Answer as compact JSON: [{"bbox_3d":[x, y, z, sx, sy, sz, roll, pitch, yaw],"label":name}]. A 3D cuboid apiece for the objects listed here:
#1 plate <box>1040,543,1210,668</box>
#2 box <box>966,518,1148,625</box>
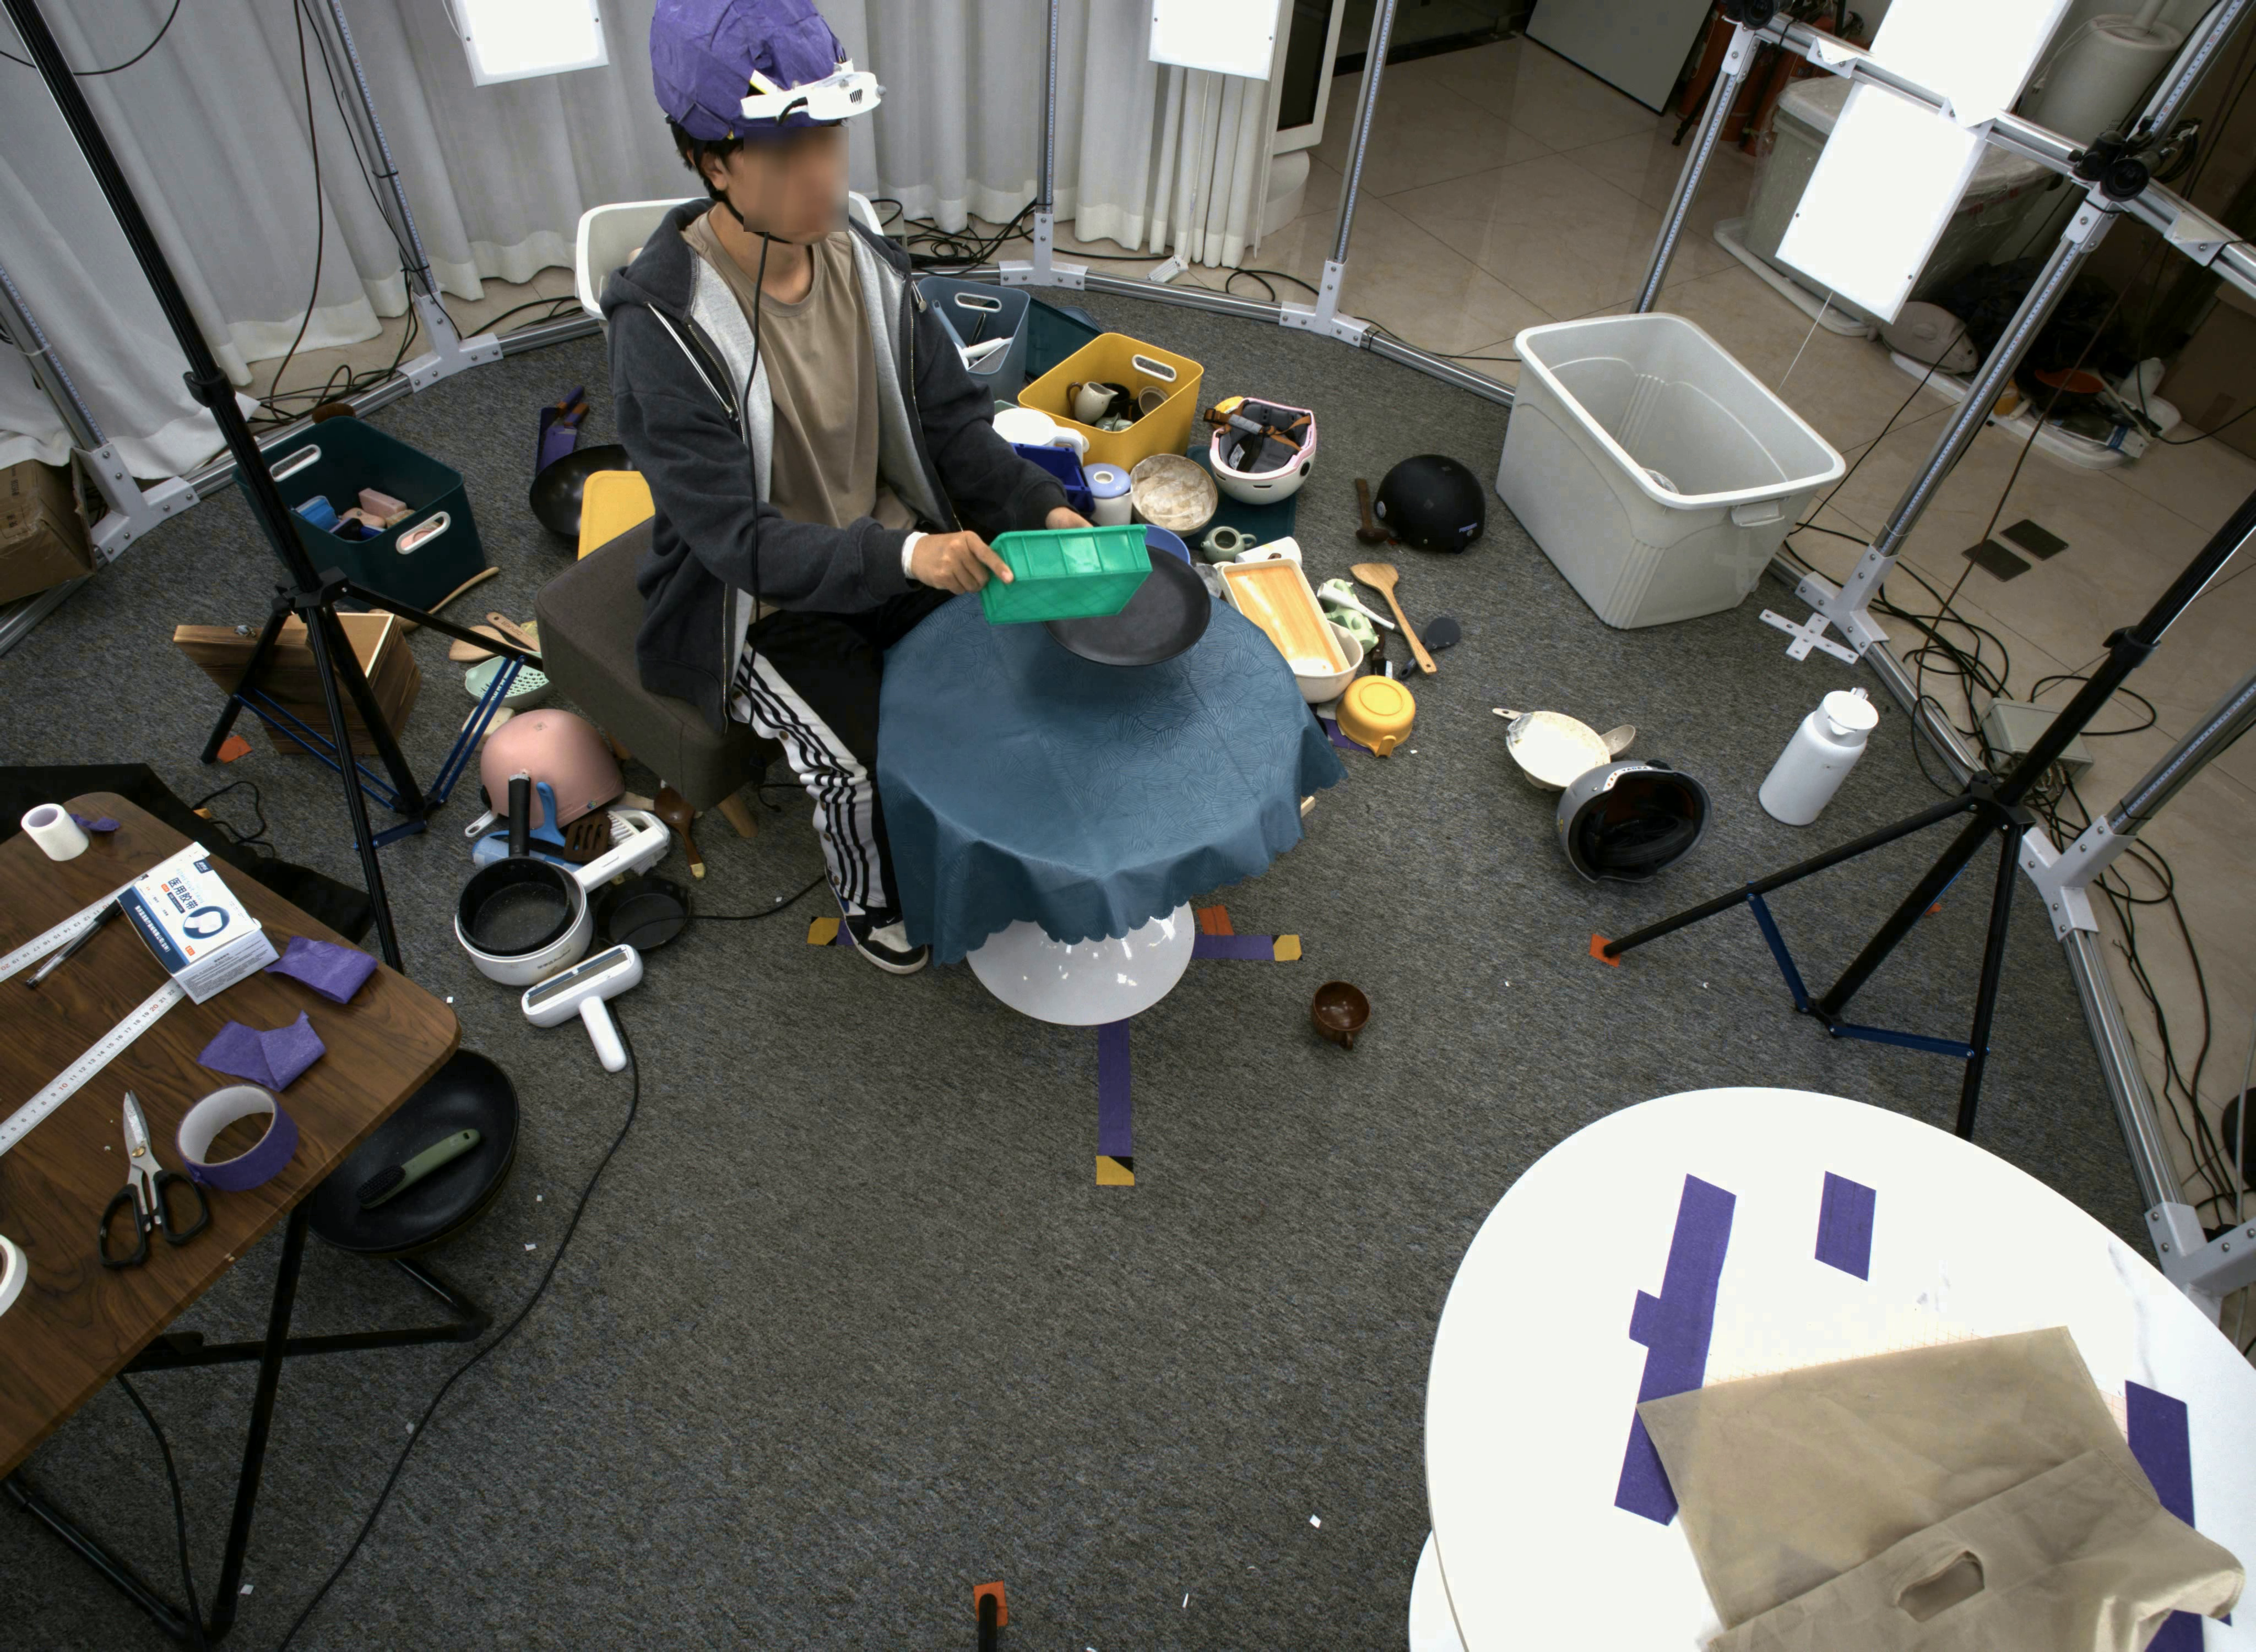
[{"bbox_3d":[-0.006,-0.309,1.807,0.244,0.023,0.250,1,54,-2],"label":"plate"},{"bbox_3d":[-0.083,-0.310,1.585,0.210,0.137,0.066,-13,75,-28],"label":"box"}]
